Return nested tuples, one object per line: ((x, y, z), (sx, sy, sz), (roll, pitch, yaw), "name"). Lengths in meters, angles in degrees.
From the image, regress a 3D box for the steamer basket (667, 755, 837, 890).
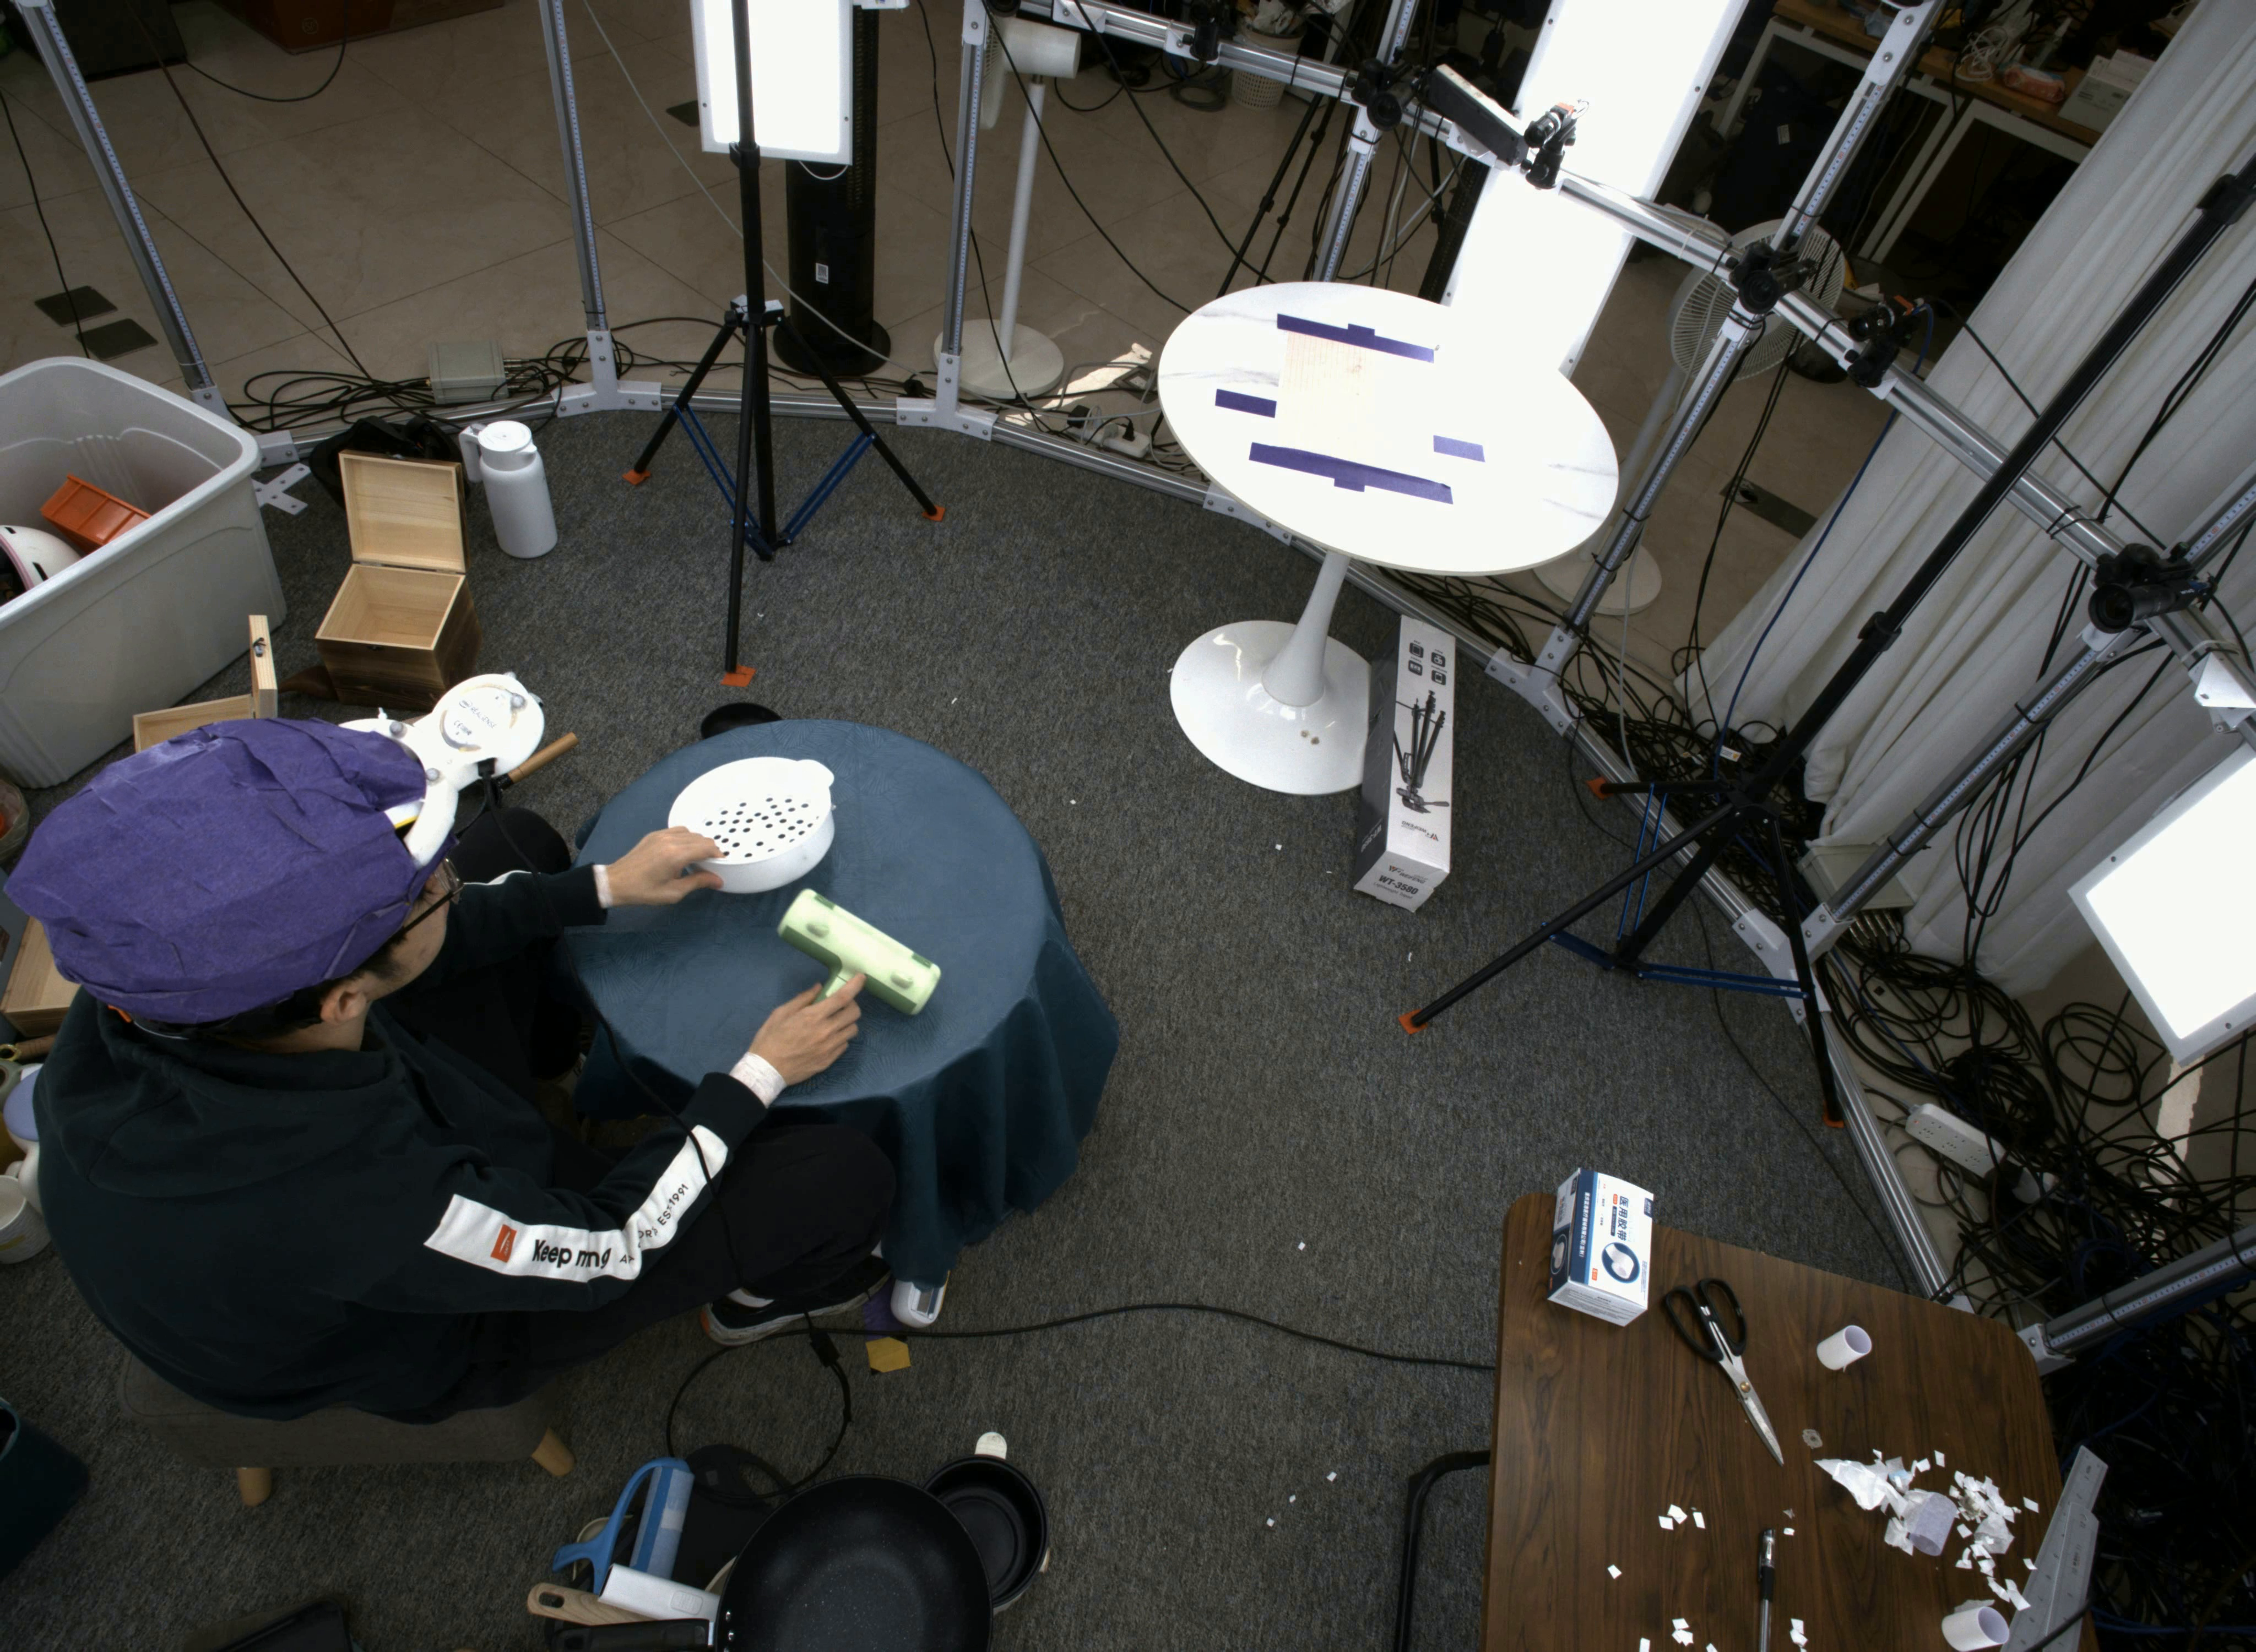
((-0.470, -0.005, 1.641), (0.195, 0.071, 0.231), (33, 50, 29), "steamer basket")

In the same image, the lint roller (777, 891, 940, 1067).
((-0.343, 0.194, 1.528), (0.200, 0.082, 0.182), (33, 57, -10), "lint roller")
